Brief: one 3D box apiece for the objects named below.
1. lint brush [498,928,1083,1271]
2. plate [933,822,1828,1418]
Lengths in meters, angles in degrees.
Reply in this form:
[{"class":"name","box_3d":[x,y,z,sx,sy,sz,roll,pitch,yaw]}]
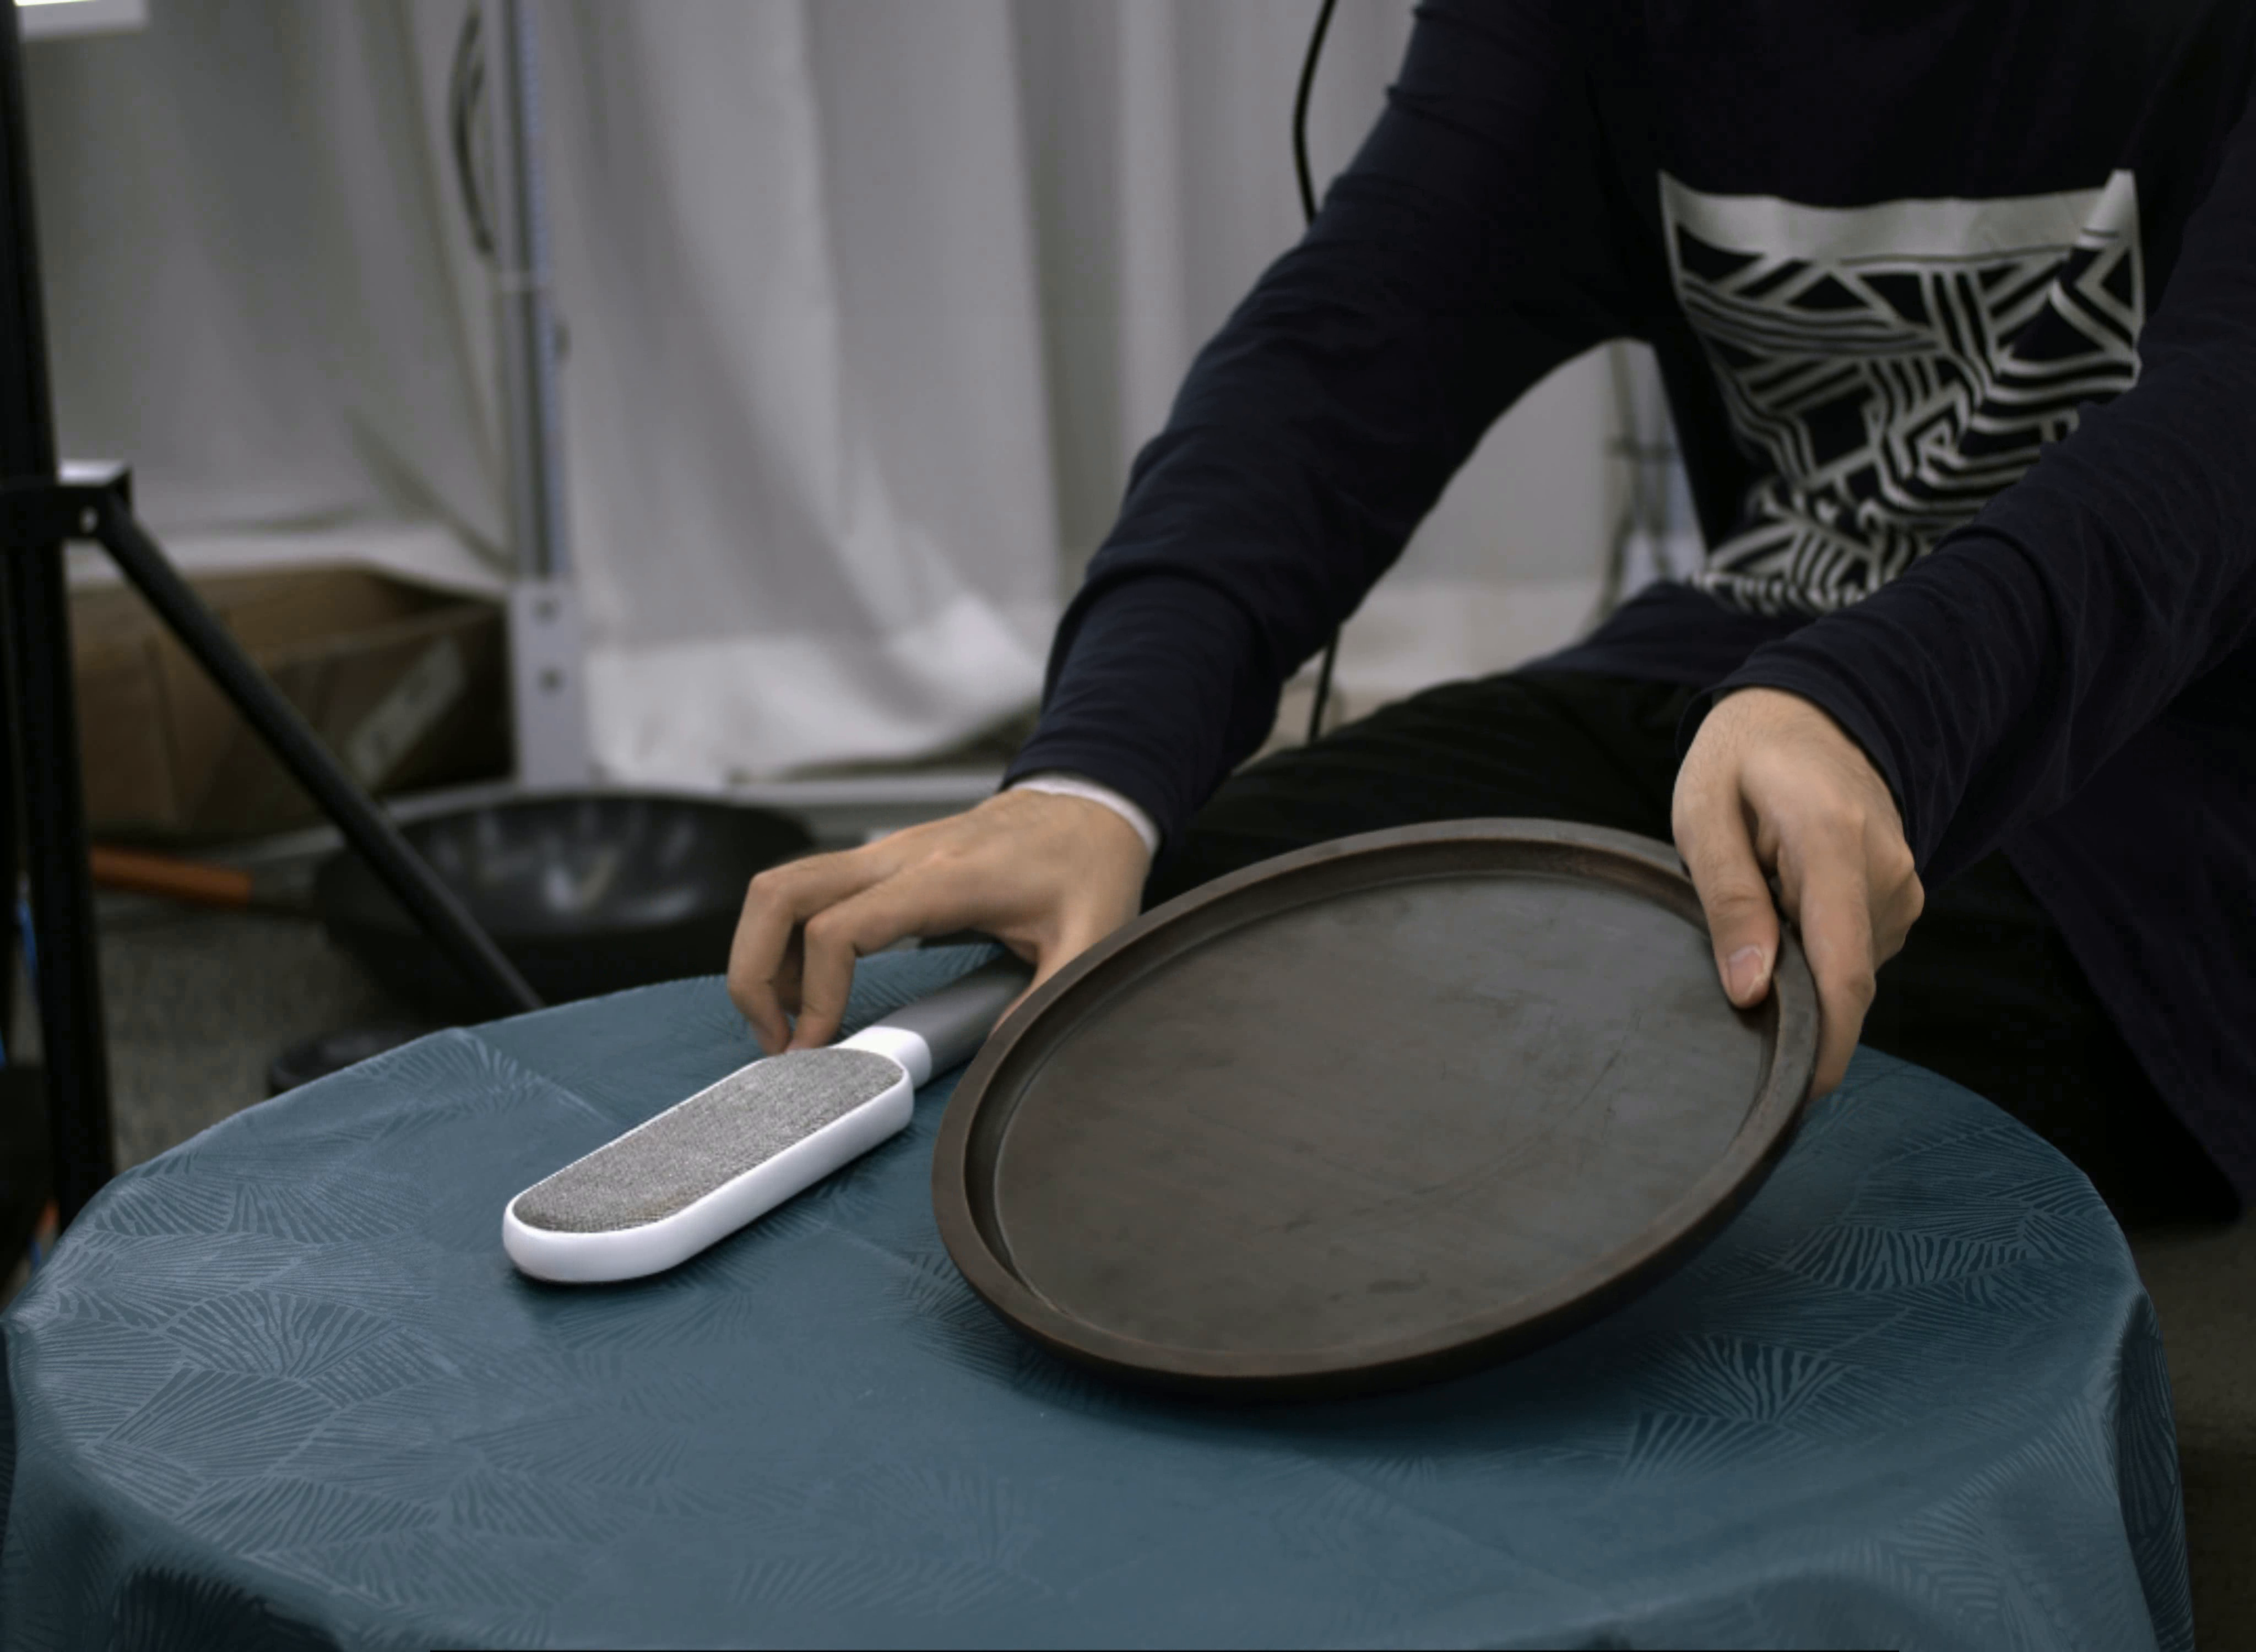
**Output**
[{"class":"lint brush","box_3d":[-0.092,0.080,1.625,0.061,0.021,0.303,0,15,29]},{"class":"plate","box_3d":[0.070,0.079,1.470,0.255,0.029,0.257,-12,33,6]}]
